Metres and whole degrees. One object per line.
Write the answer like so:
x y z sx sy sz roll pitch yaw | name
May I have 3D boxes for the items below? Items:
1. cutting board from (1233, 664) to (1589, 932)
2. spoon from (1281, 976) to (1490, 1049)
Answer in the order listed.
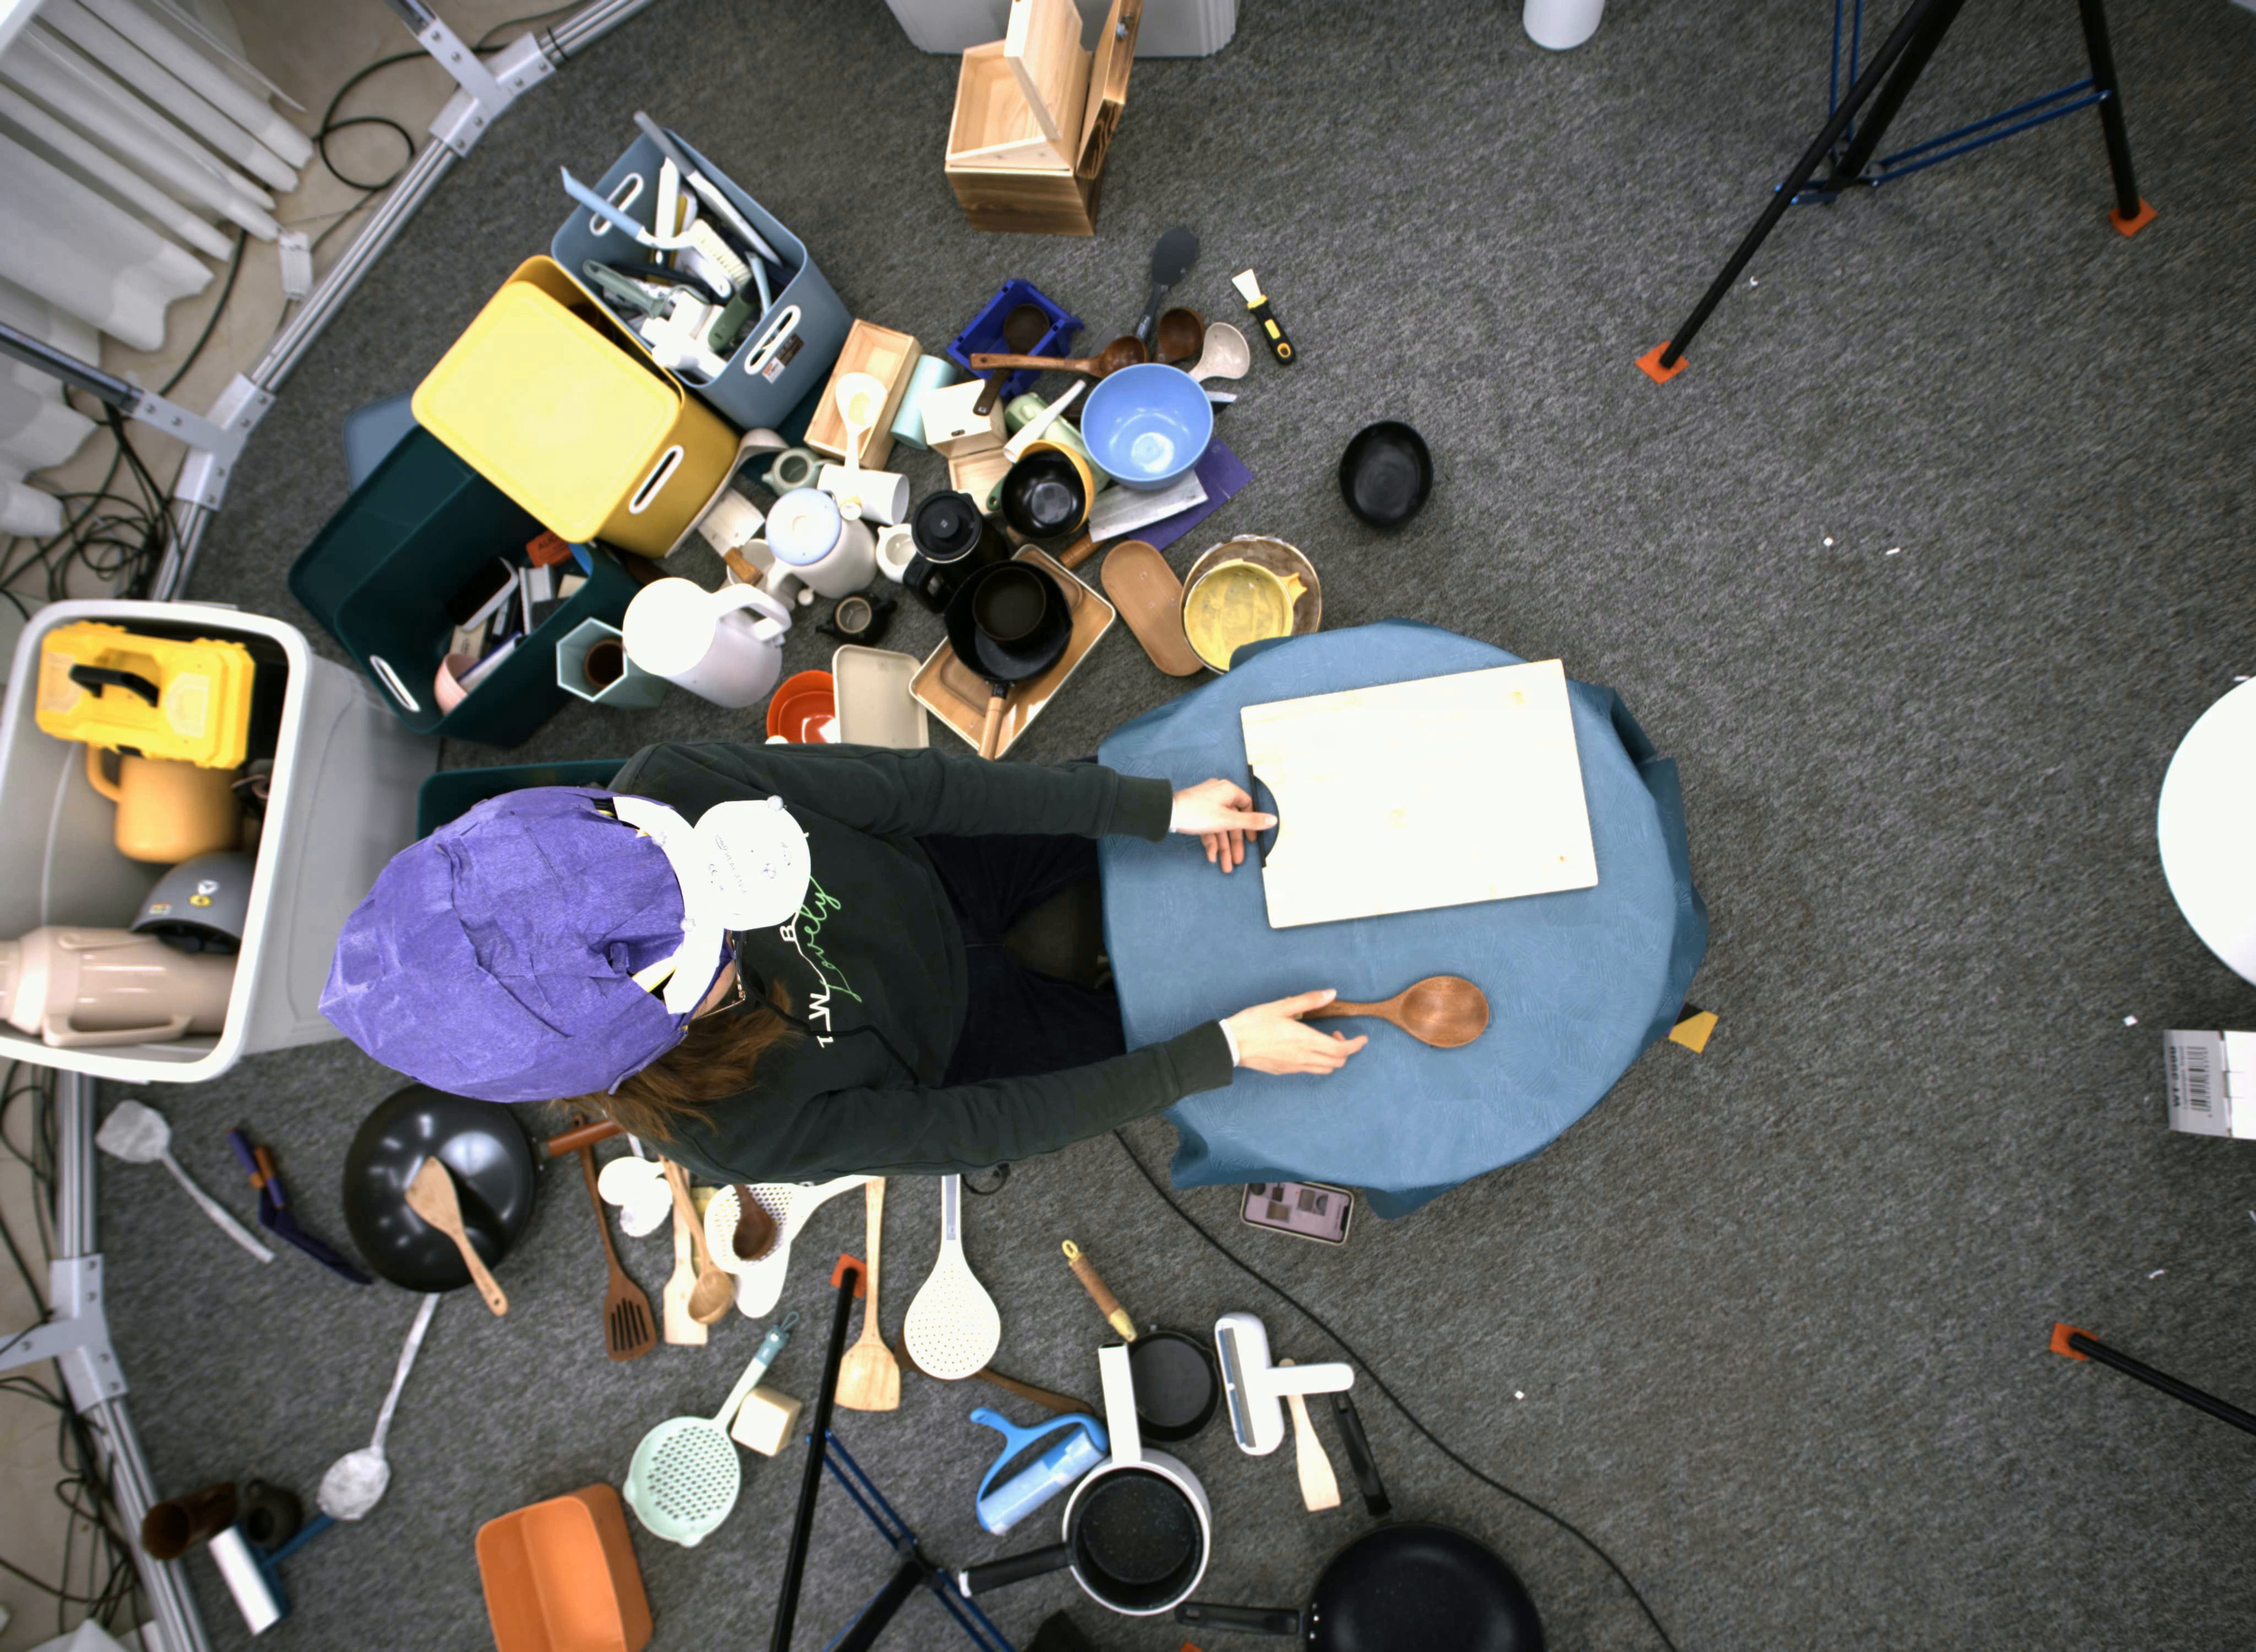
0.299 -0.030 1.459 0.350 0.023 0.249 -9 84 10 | cutting board
0.268 0.192 1.448 0.216 0.017 0.075 0 88 10 | spoon
